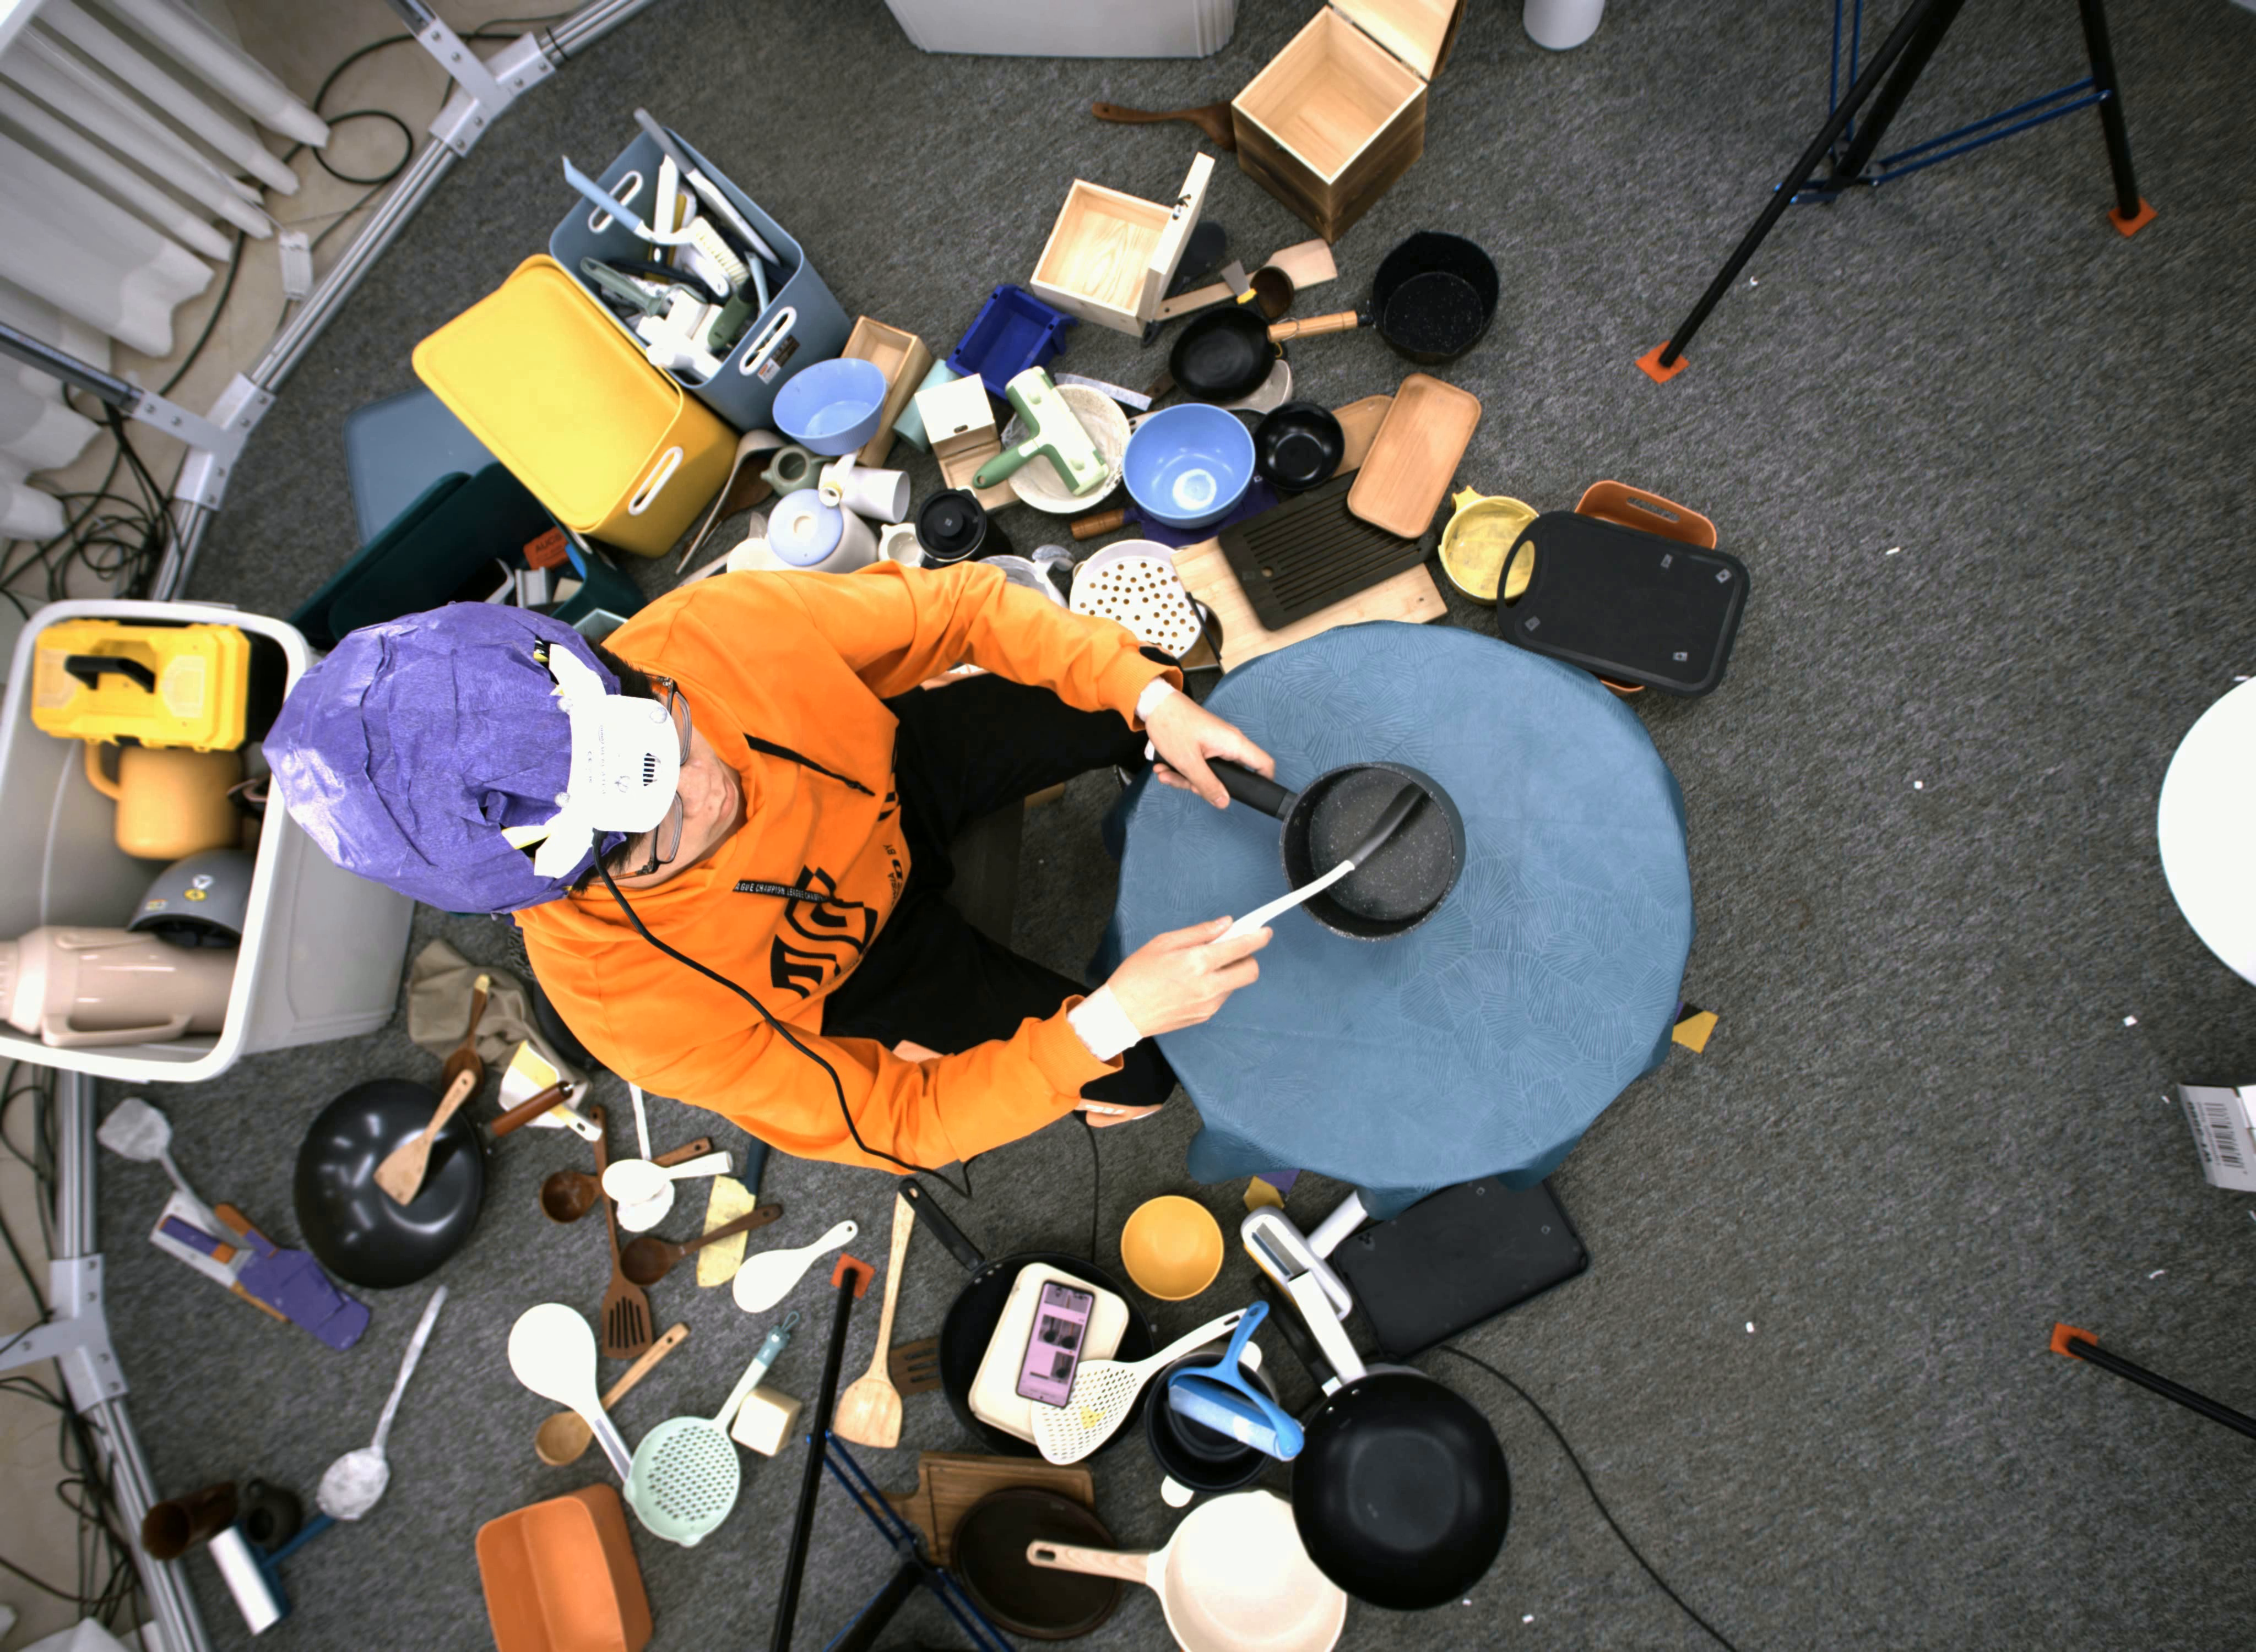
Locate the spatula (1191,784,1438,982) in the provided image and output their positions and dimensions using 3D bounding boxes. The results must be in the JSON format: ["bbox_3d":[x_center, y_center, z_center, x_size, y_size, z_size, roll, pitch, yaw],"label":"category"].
[{"bbox_3d":[0.178,0.047,1.296,0.285,0.059,0.032,-37,102,-11],"label":"spatula"}]

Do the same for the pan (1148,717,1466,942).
[{"bbox_3d":[0.173,-0.017,1.354,0.328,0.085,0.175,30,109,15],"label":"pan"}]
